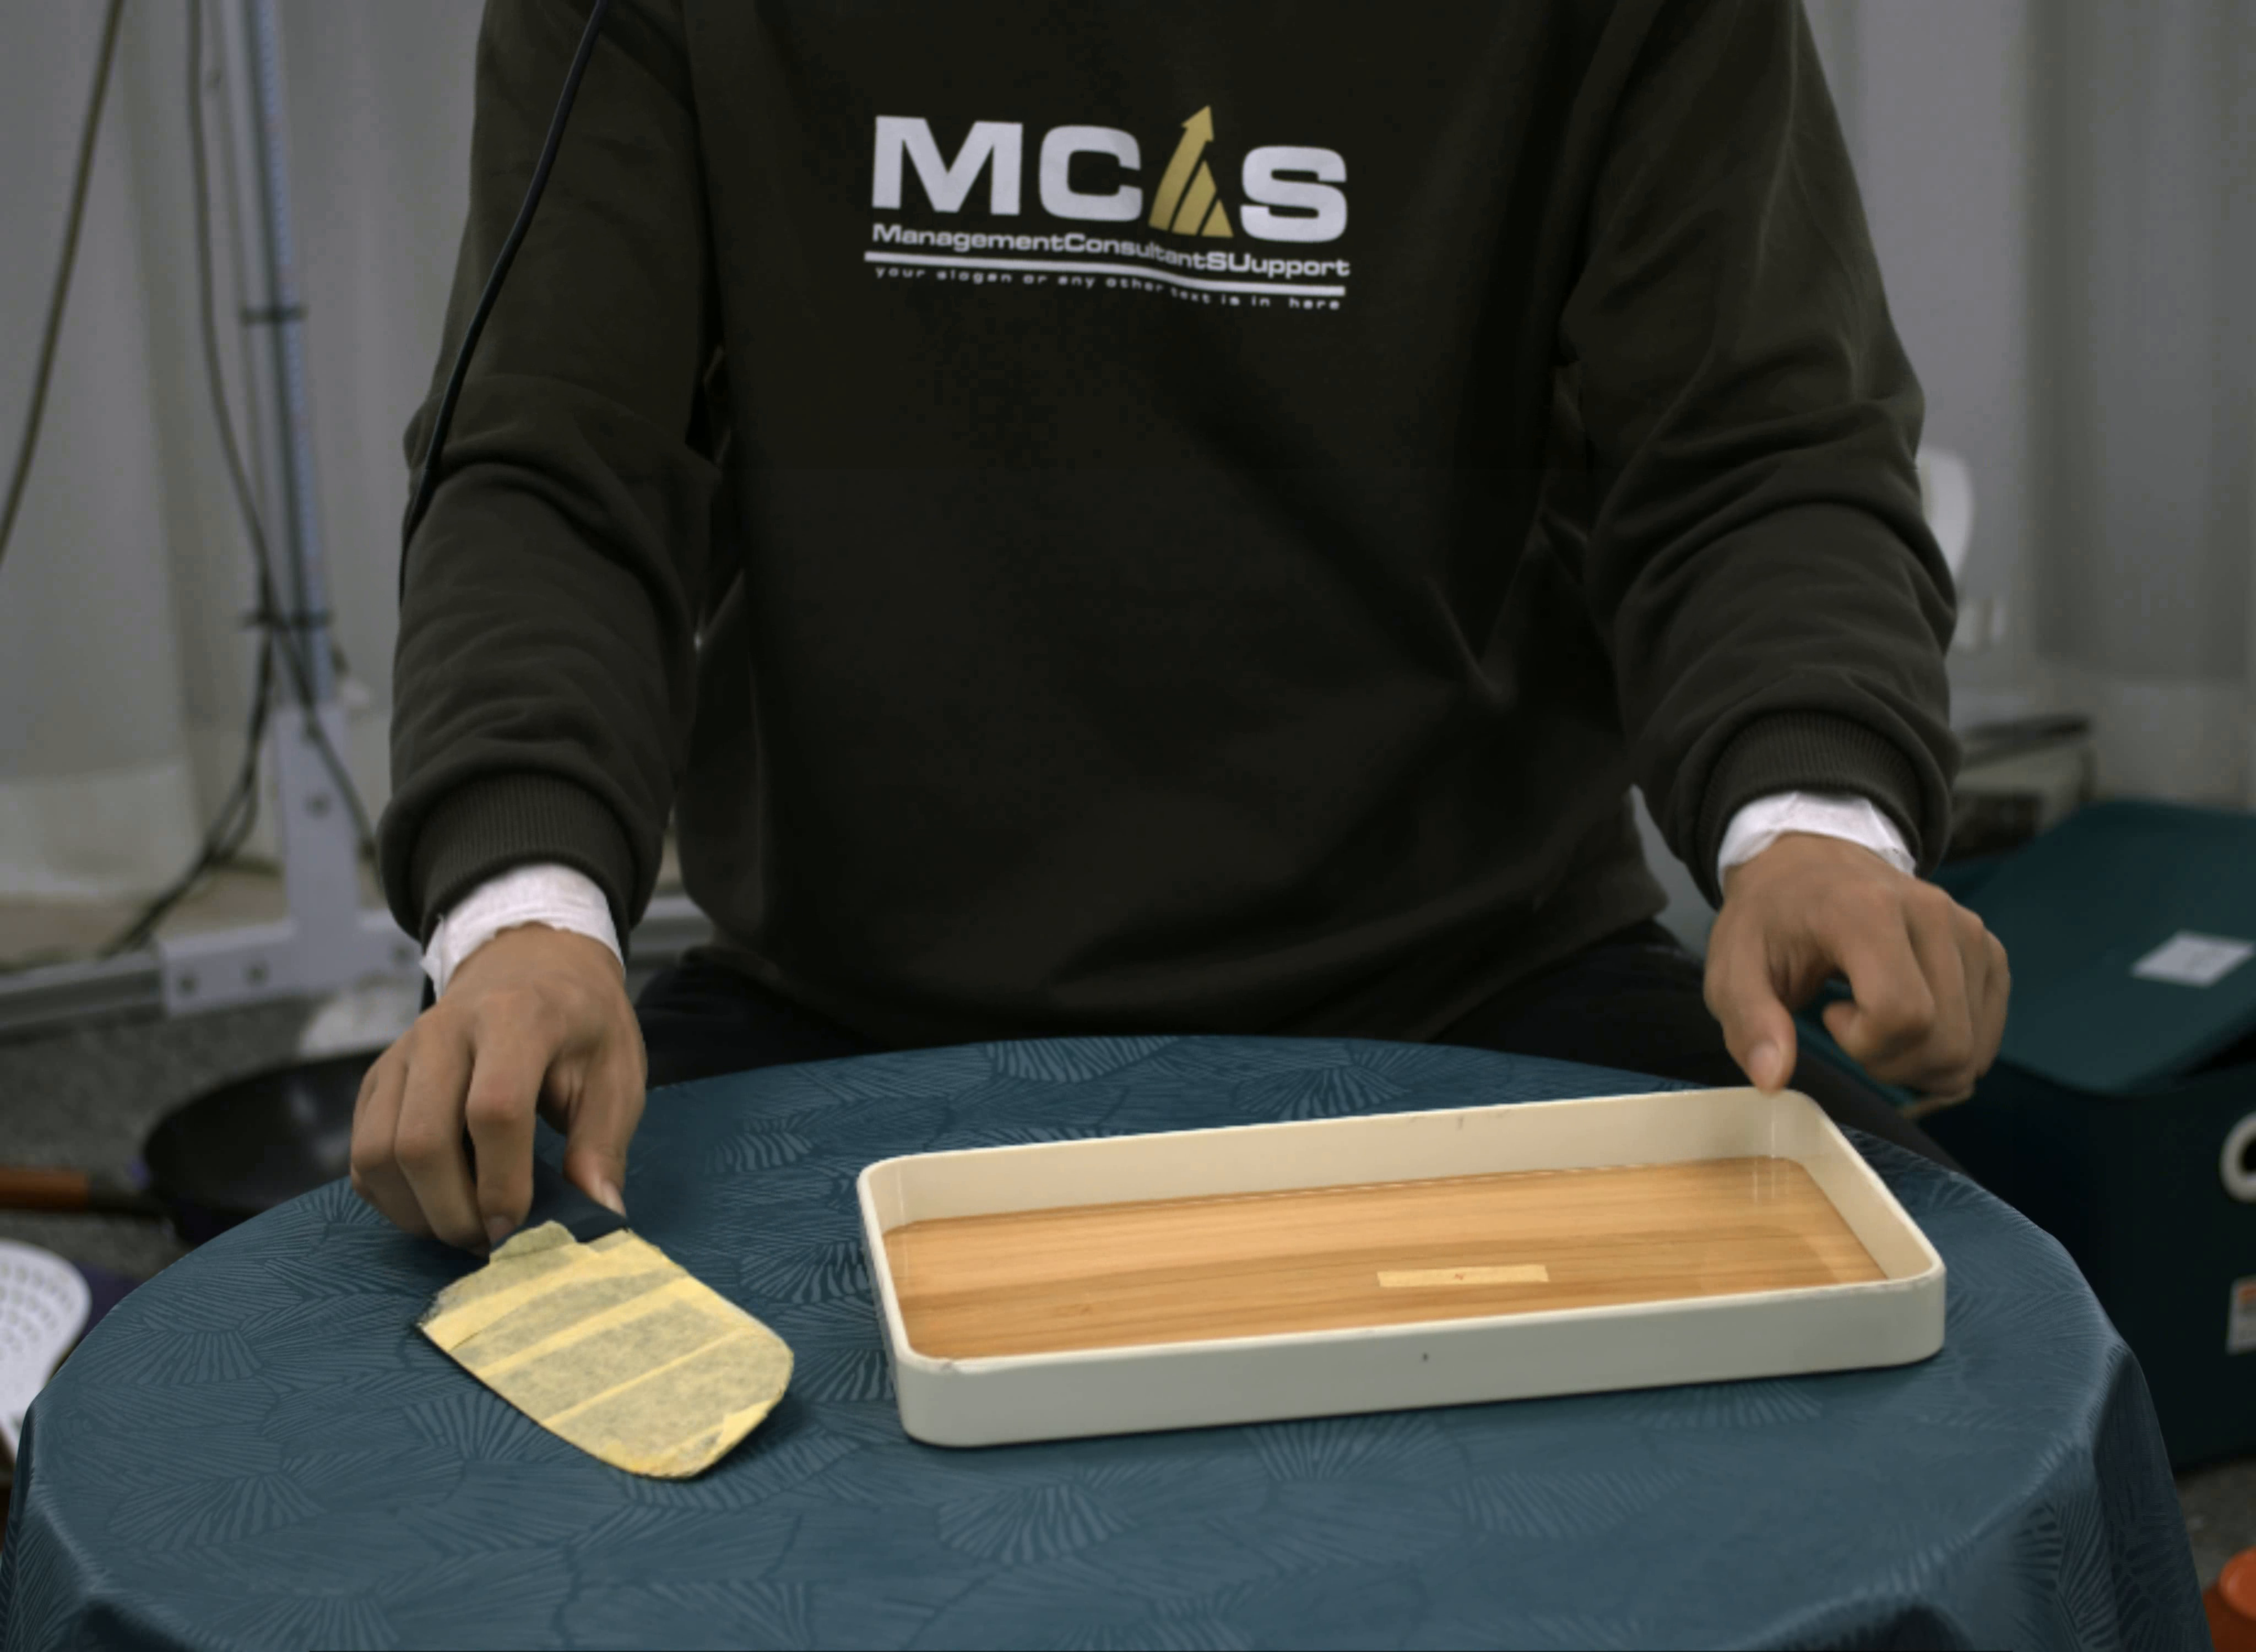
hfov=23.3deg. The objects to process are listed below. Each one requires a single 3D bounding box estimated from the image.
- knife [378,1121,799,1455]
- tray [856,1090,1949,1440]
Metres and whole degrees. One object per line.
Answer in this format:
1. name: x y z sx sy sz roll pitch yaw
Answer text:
1. knife: -0.174 0.137 1.623 0.081 0.027 0.292 -19 21 -22
2. tray: 0.075 0.127 1.606 0.299 0.027 0.193 -4 14 -6
